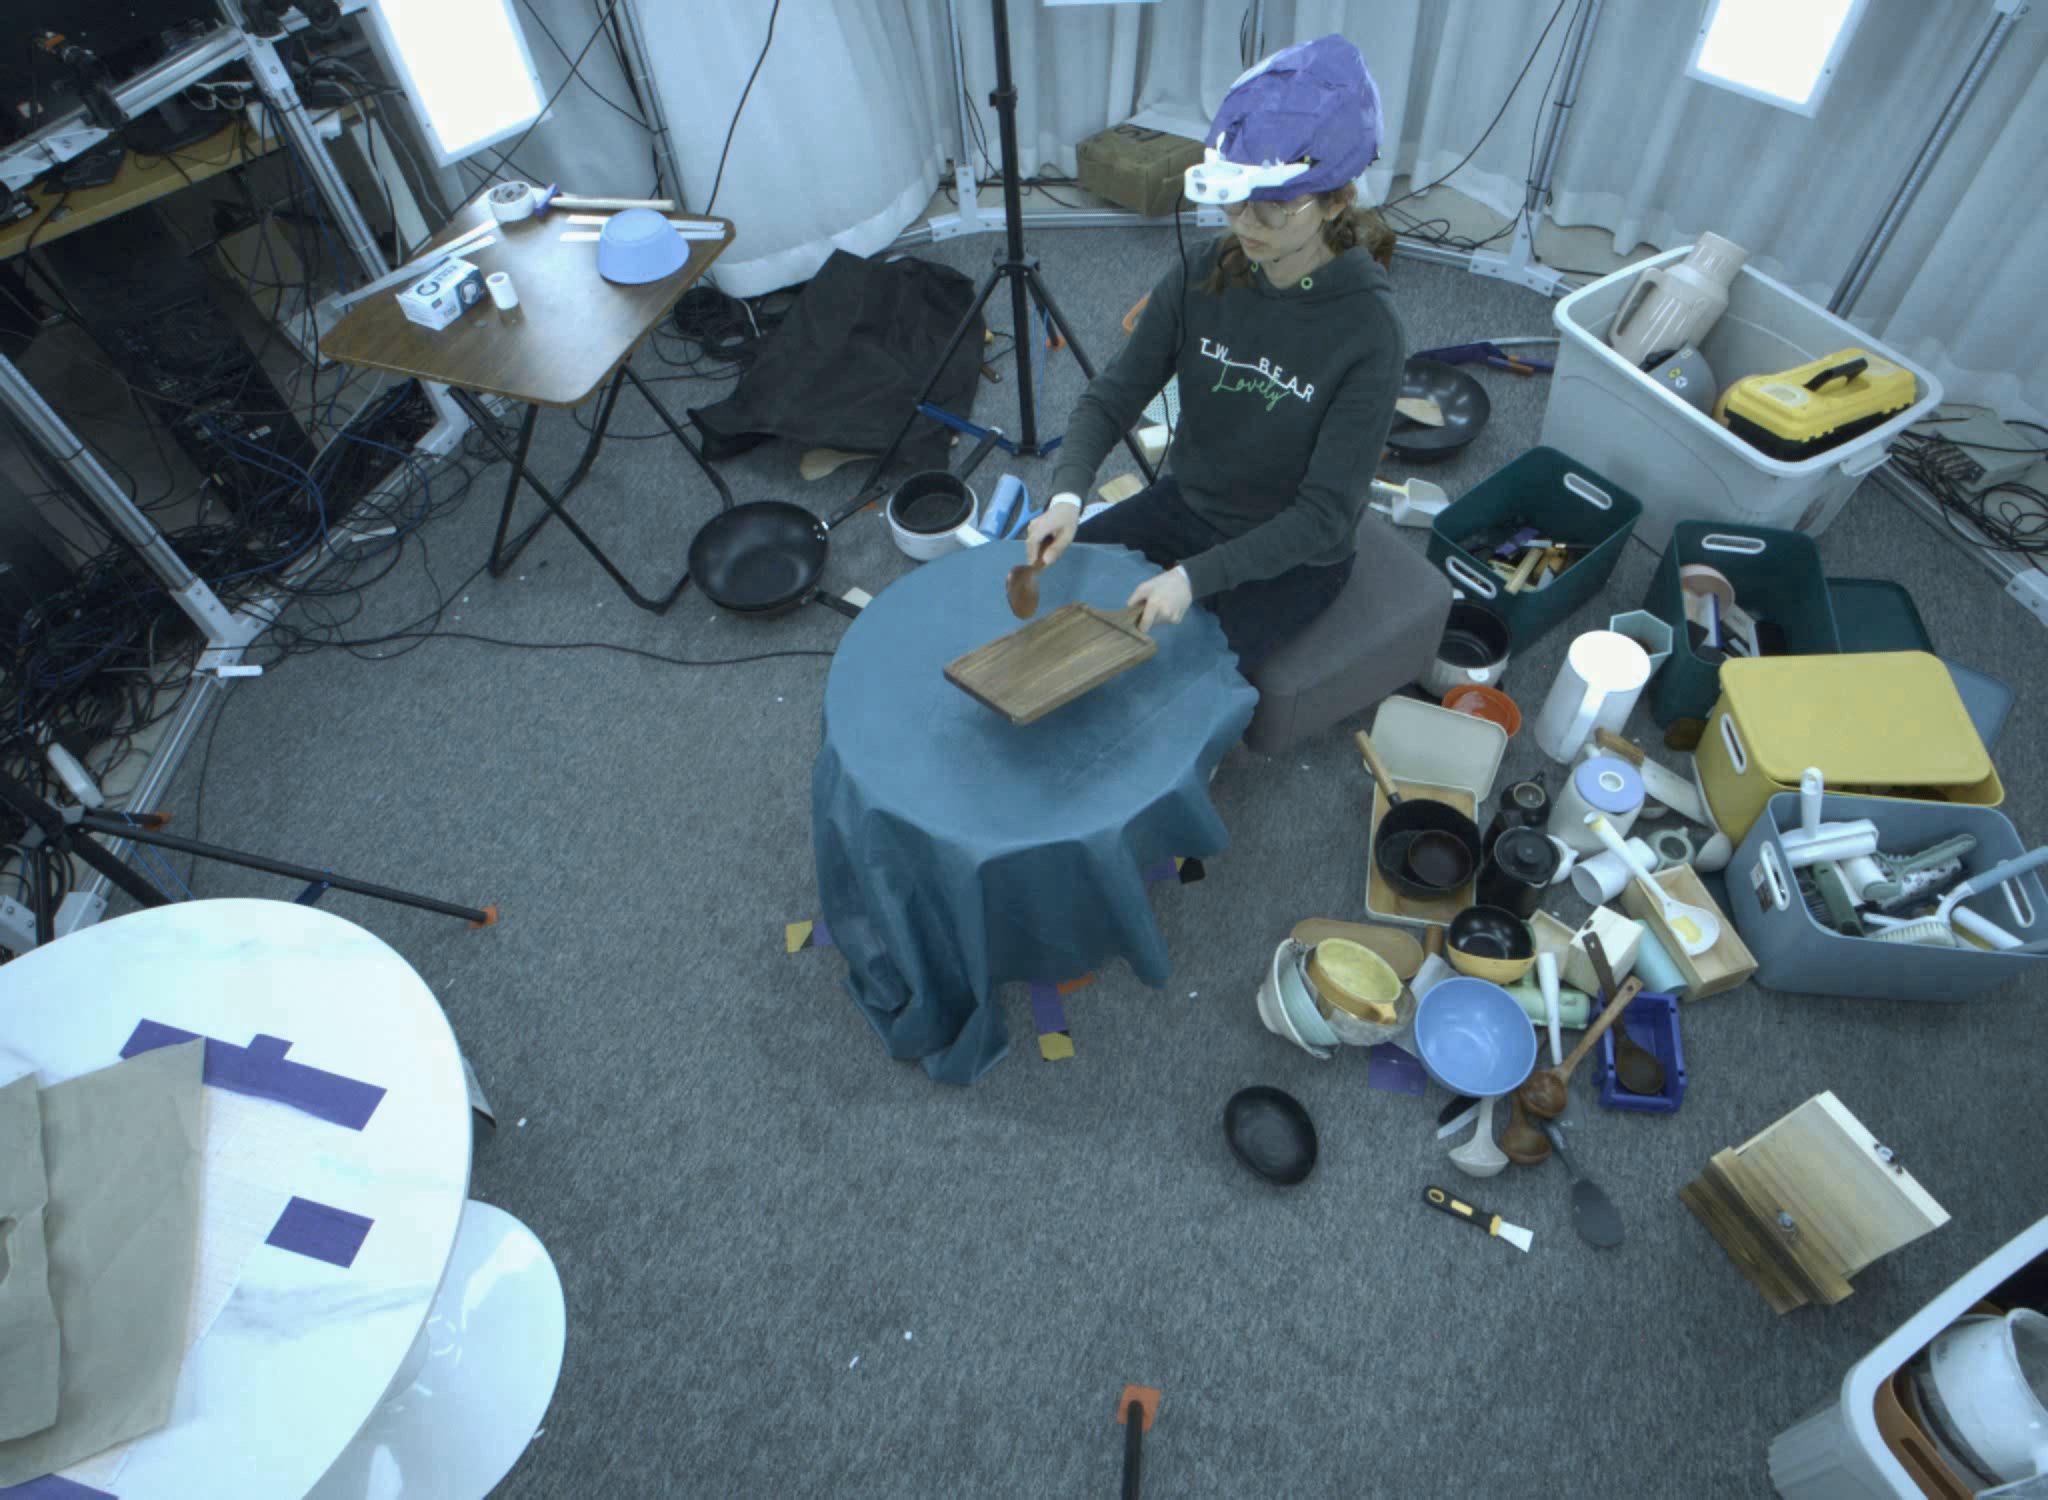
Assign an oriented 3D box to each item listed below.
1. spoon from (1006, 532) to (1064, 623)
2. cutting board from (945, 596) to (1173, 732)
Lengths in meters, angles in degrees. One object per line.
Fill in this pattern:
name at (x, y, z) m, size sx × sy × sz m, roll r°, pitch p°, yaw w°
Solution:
spoon at (0.018, -0.260, 1.802) m, size 0.017 × 0.077 × 0.216 m, roll -13°, pitch 33°, yaw 33°
cutting board at (0.079, -0.143, 1.777) m, size 0.356 × 0.023 × 0.196 m, roll -29°, pitch 39°, yaw -25°
